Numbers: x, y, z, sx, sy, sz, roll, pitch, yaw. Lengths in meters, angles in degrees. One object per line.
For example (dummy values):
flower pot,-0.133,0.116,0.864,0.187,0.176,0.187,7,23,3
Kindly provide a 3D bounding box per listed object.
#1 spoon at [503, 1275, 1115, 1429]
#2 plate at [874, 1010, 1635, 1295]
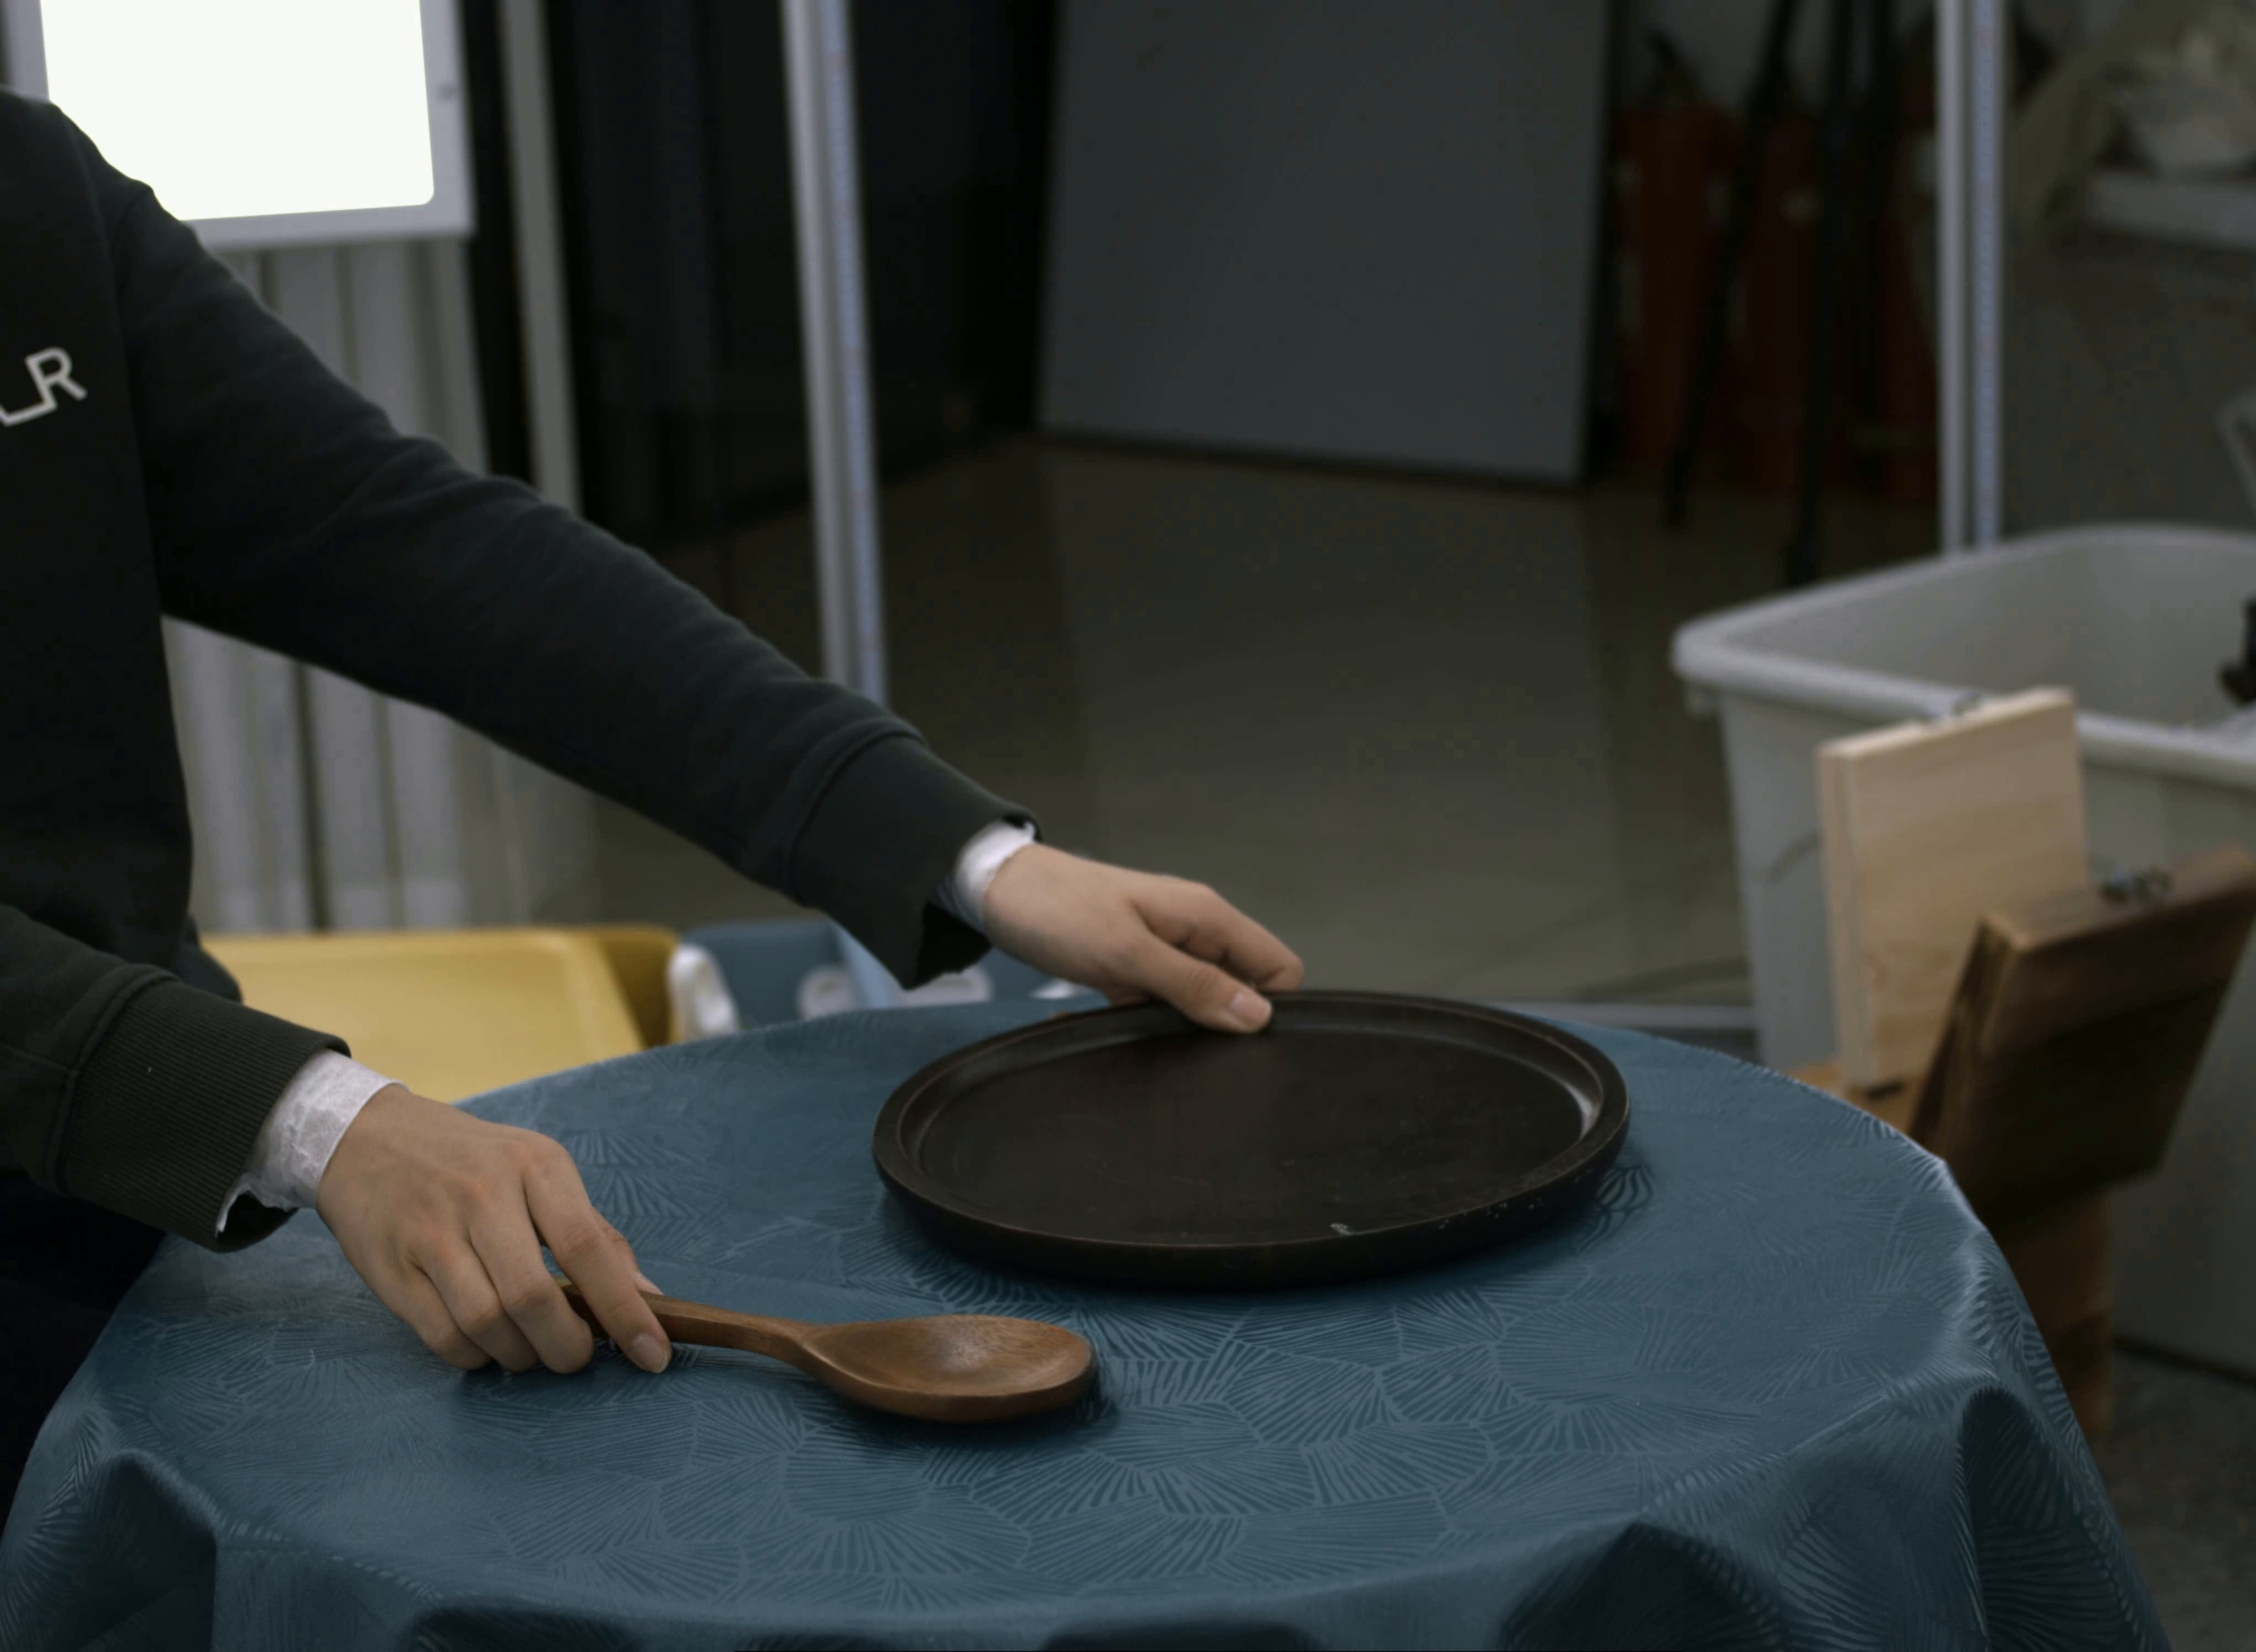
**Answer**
spoon,-0.099,0.156,1.618,0.217,0.017,0.074,6,16,33
plate,0.042,0.104,1.771,0.251,0.029,0.255,-3,16,0
